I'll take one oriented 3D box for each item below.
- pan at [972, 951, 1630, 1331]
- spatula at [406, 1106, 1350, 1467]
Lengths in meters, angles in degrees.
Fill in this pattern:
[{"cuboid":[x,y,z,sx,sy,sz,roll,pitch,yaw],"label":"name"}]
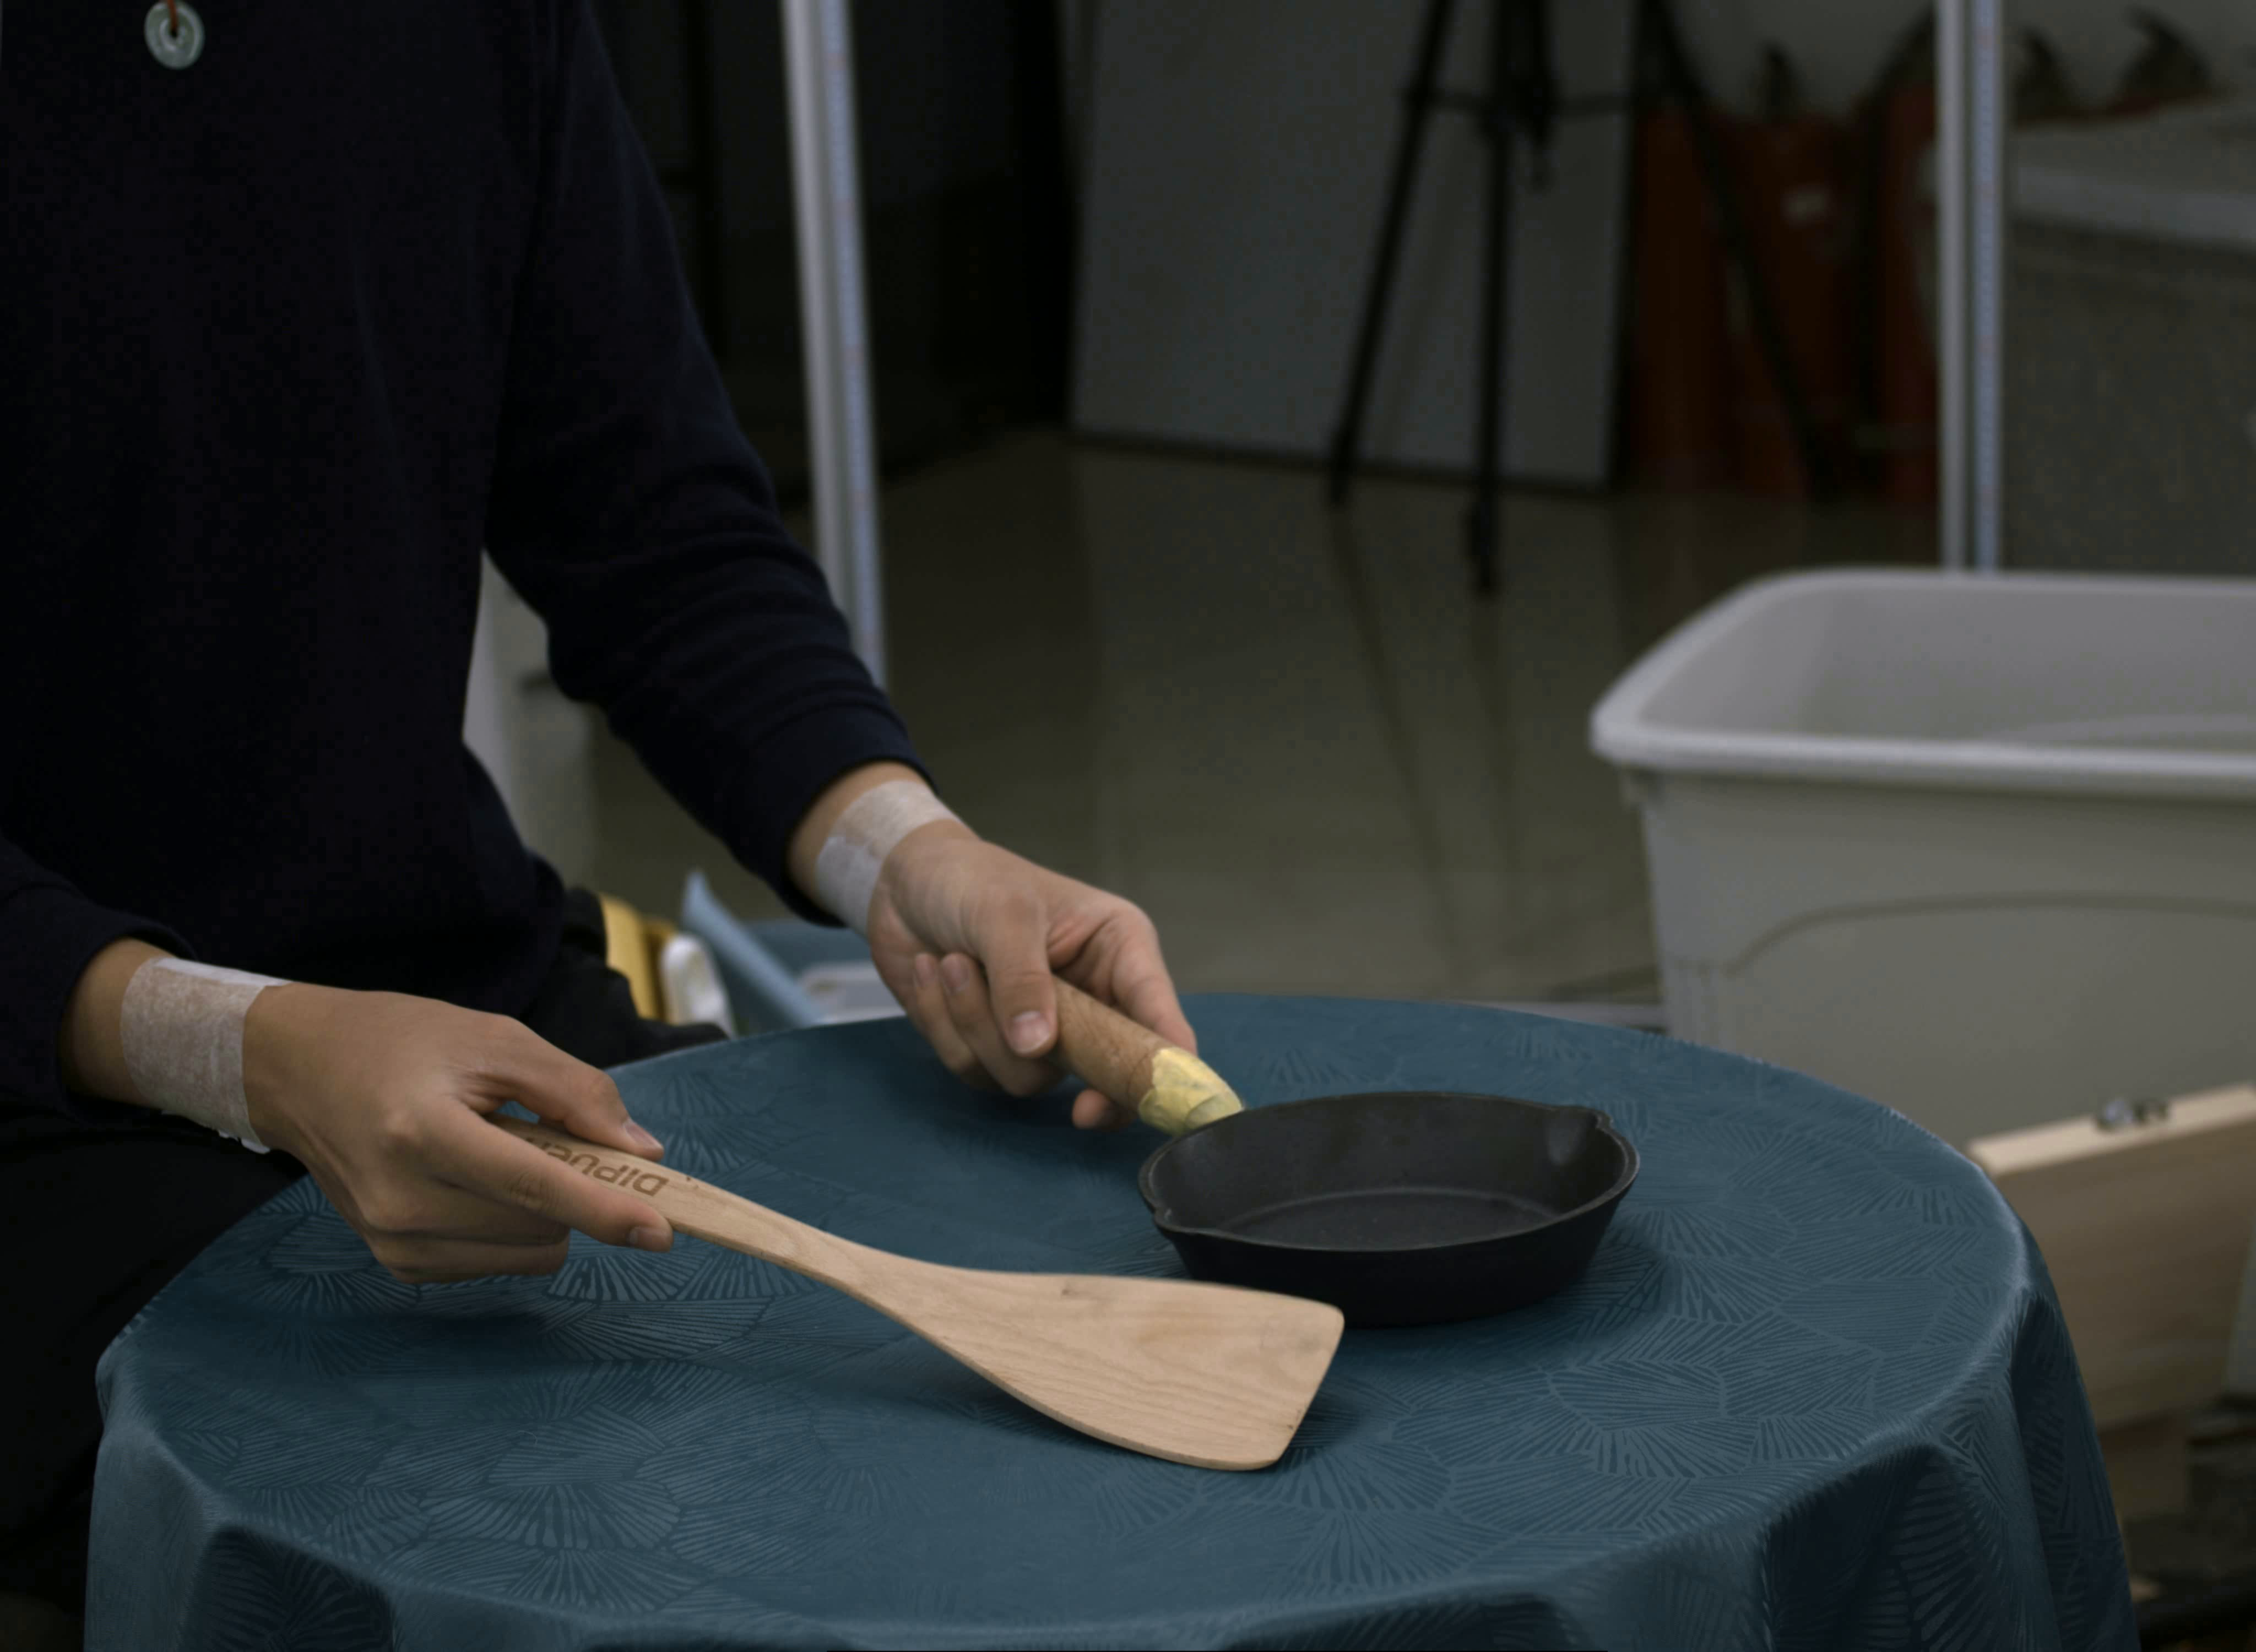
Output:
[{"cuboid":[0.037,0.098,1.749,0.165,0.050,0.327,-12,17,-28],"label":"pan"},{"cuboid":[-0.081,0.127,1.613,0.329,0.016,0.079,15,41,27],"label":"spatula"}]
